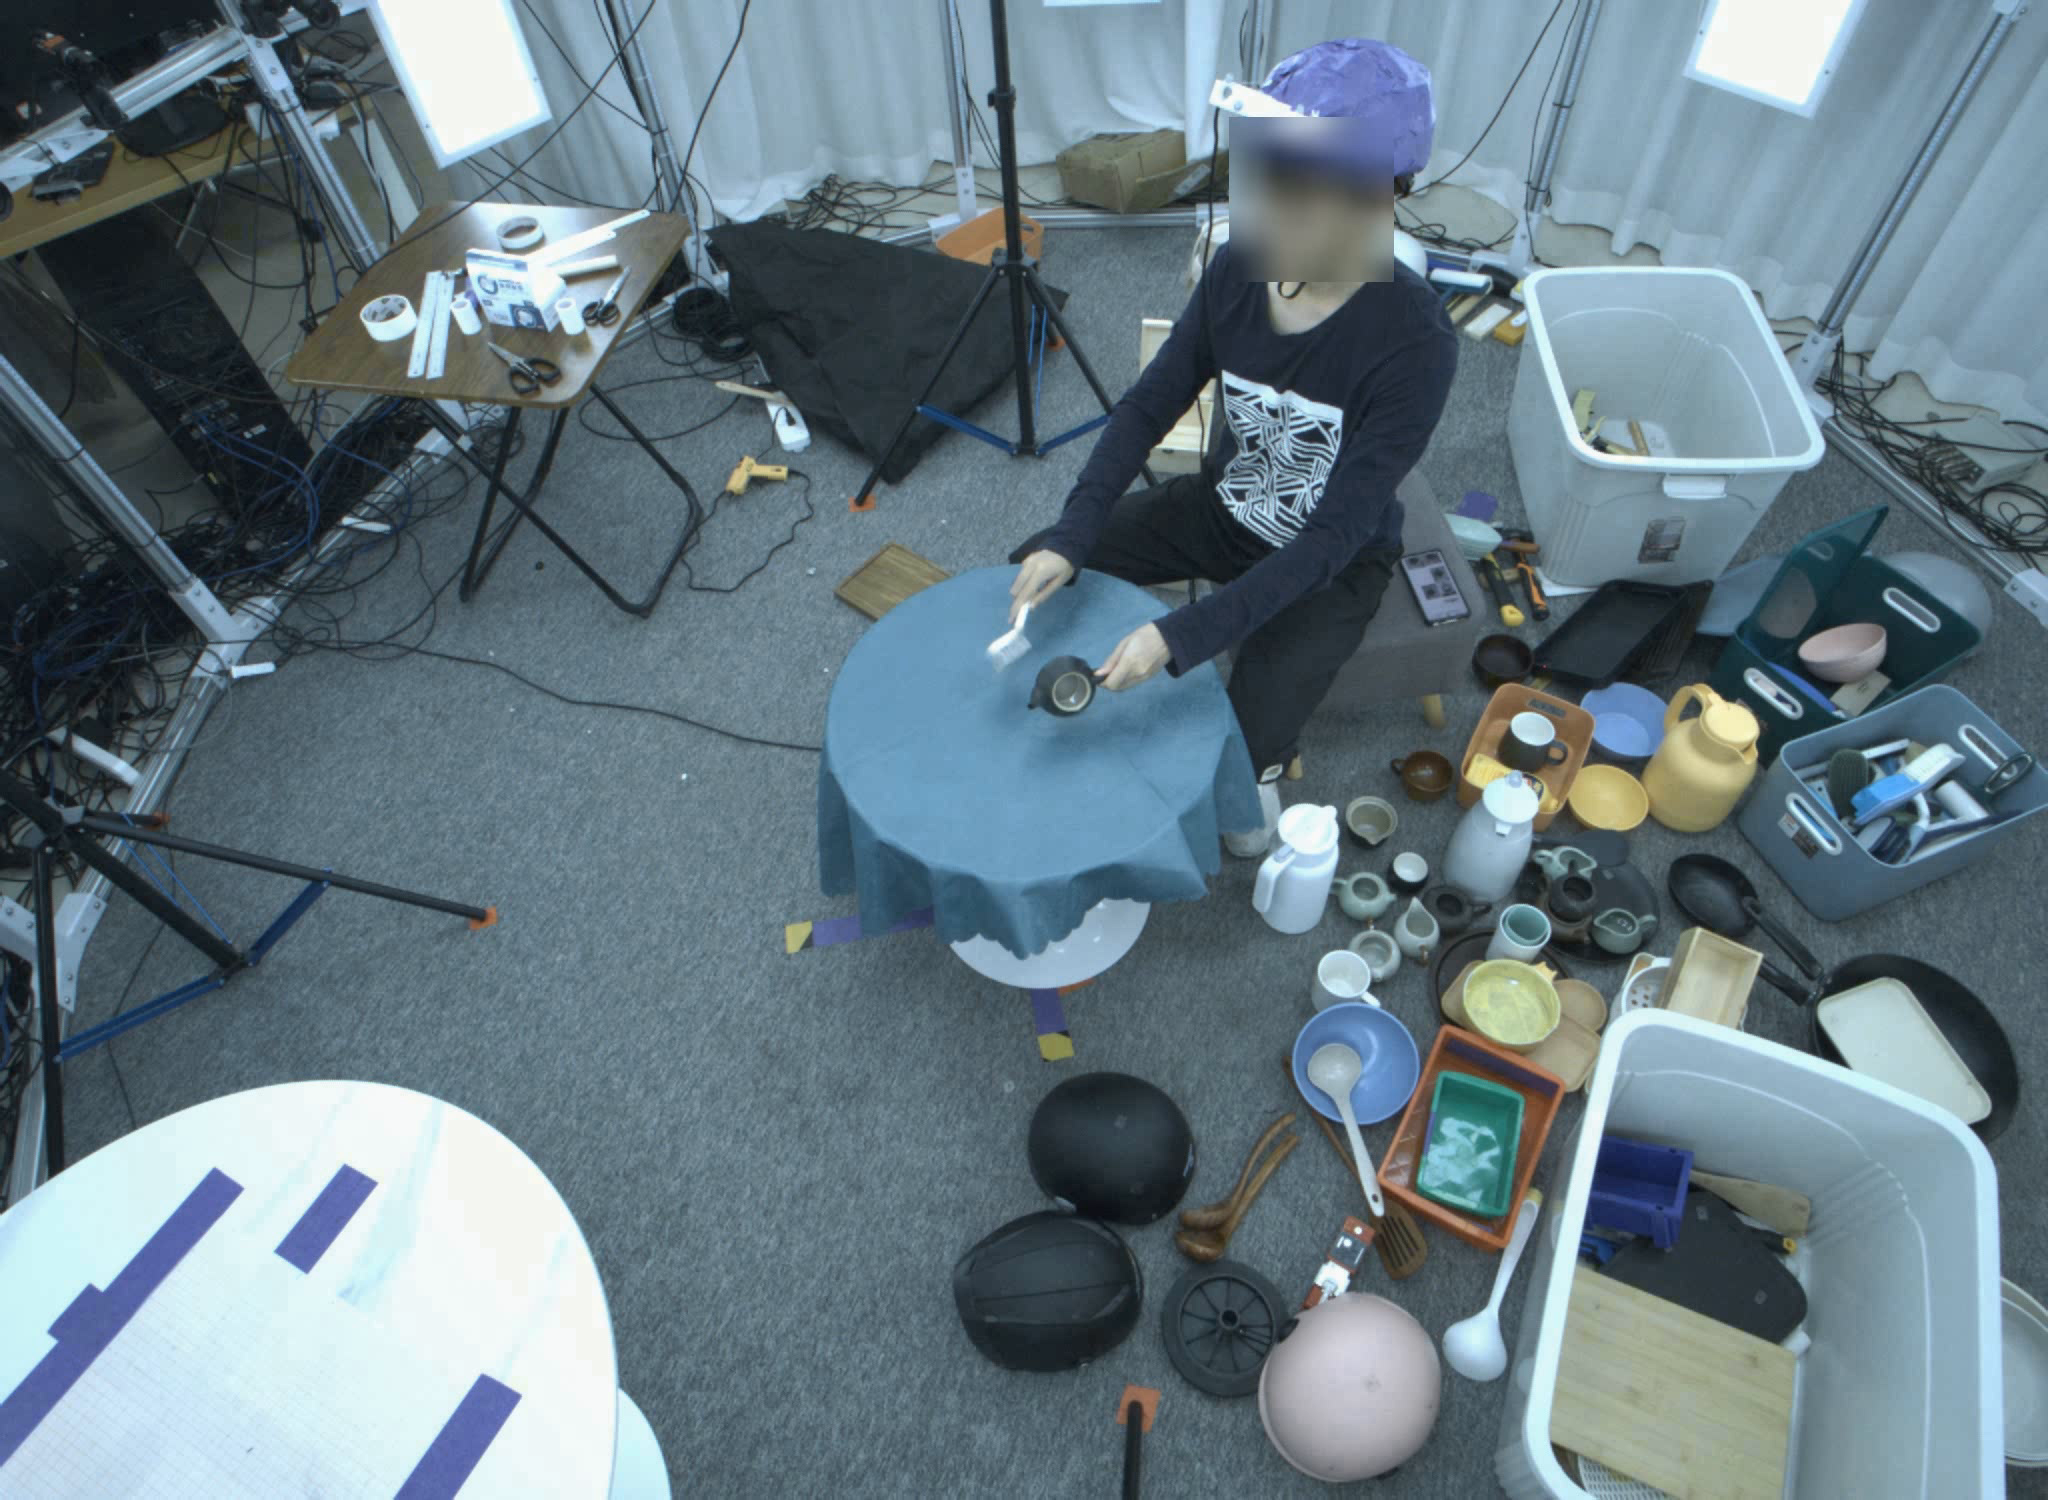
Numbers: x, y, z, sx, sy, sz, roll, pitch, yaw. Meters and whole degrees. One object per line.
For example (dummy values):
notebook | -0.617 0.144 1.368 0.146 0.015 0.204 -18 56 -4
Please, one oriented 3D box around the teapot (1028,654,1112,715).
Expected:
teapot | 0.061 -0.092 1.749 0.134 0.092 0.052 -22 28 -9

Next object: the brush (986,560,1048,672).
brush | 0.006 -0.203 1.850 0.050 0.034 0.243 36 47 -9
